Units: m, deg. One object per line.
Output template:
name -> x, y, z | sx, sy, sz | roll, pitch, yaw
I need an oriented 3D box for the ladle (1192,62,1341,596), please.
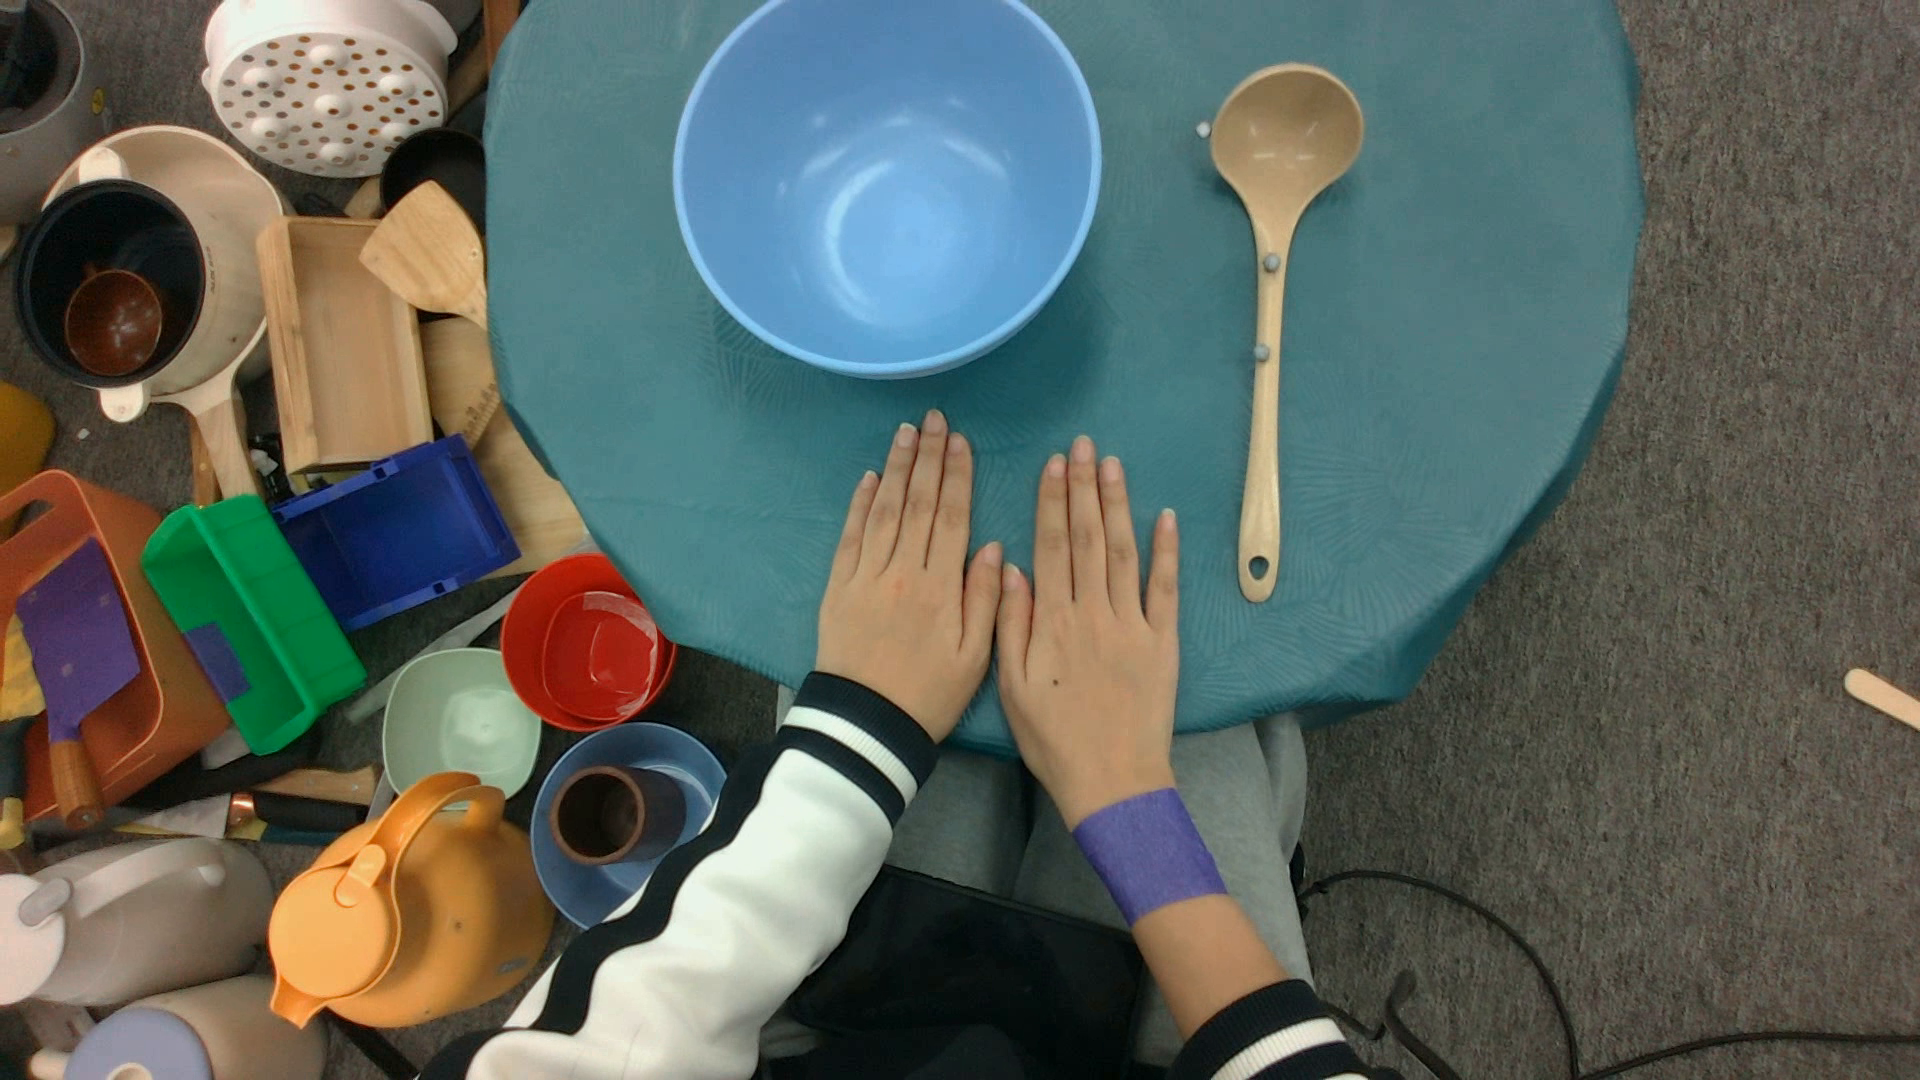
ladle -> 0.147, -0.104, 0.661 | 0.072, 0.073, 0.255 | 2, 80, 5

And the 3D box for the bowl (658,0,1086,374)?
bowl -> -0.039, -0.165, 0.675 | 0.196, 0.095, 0.197 | 0, 80, 2
